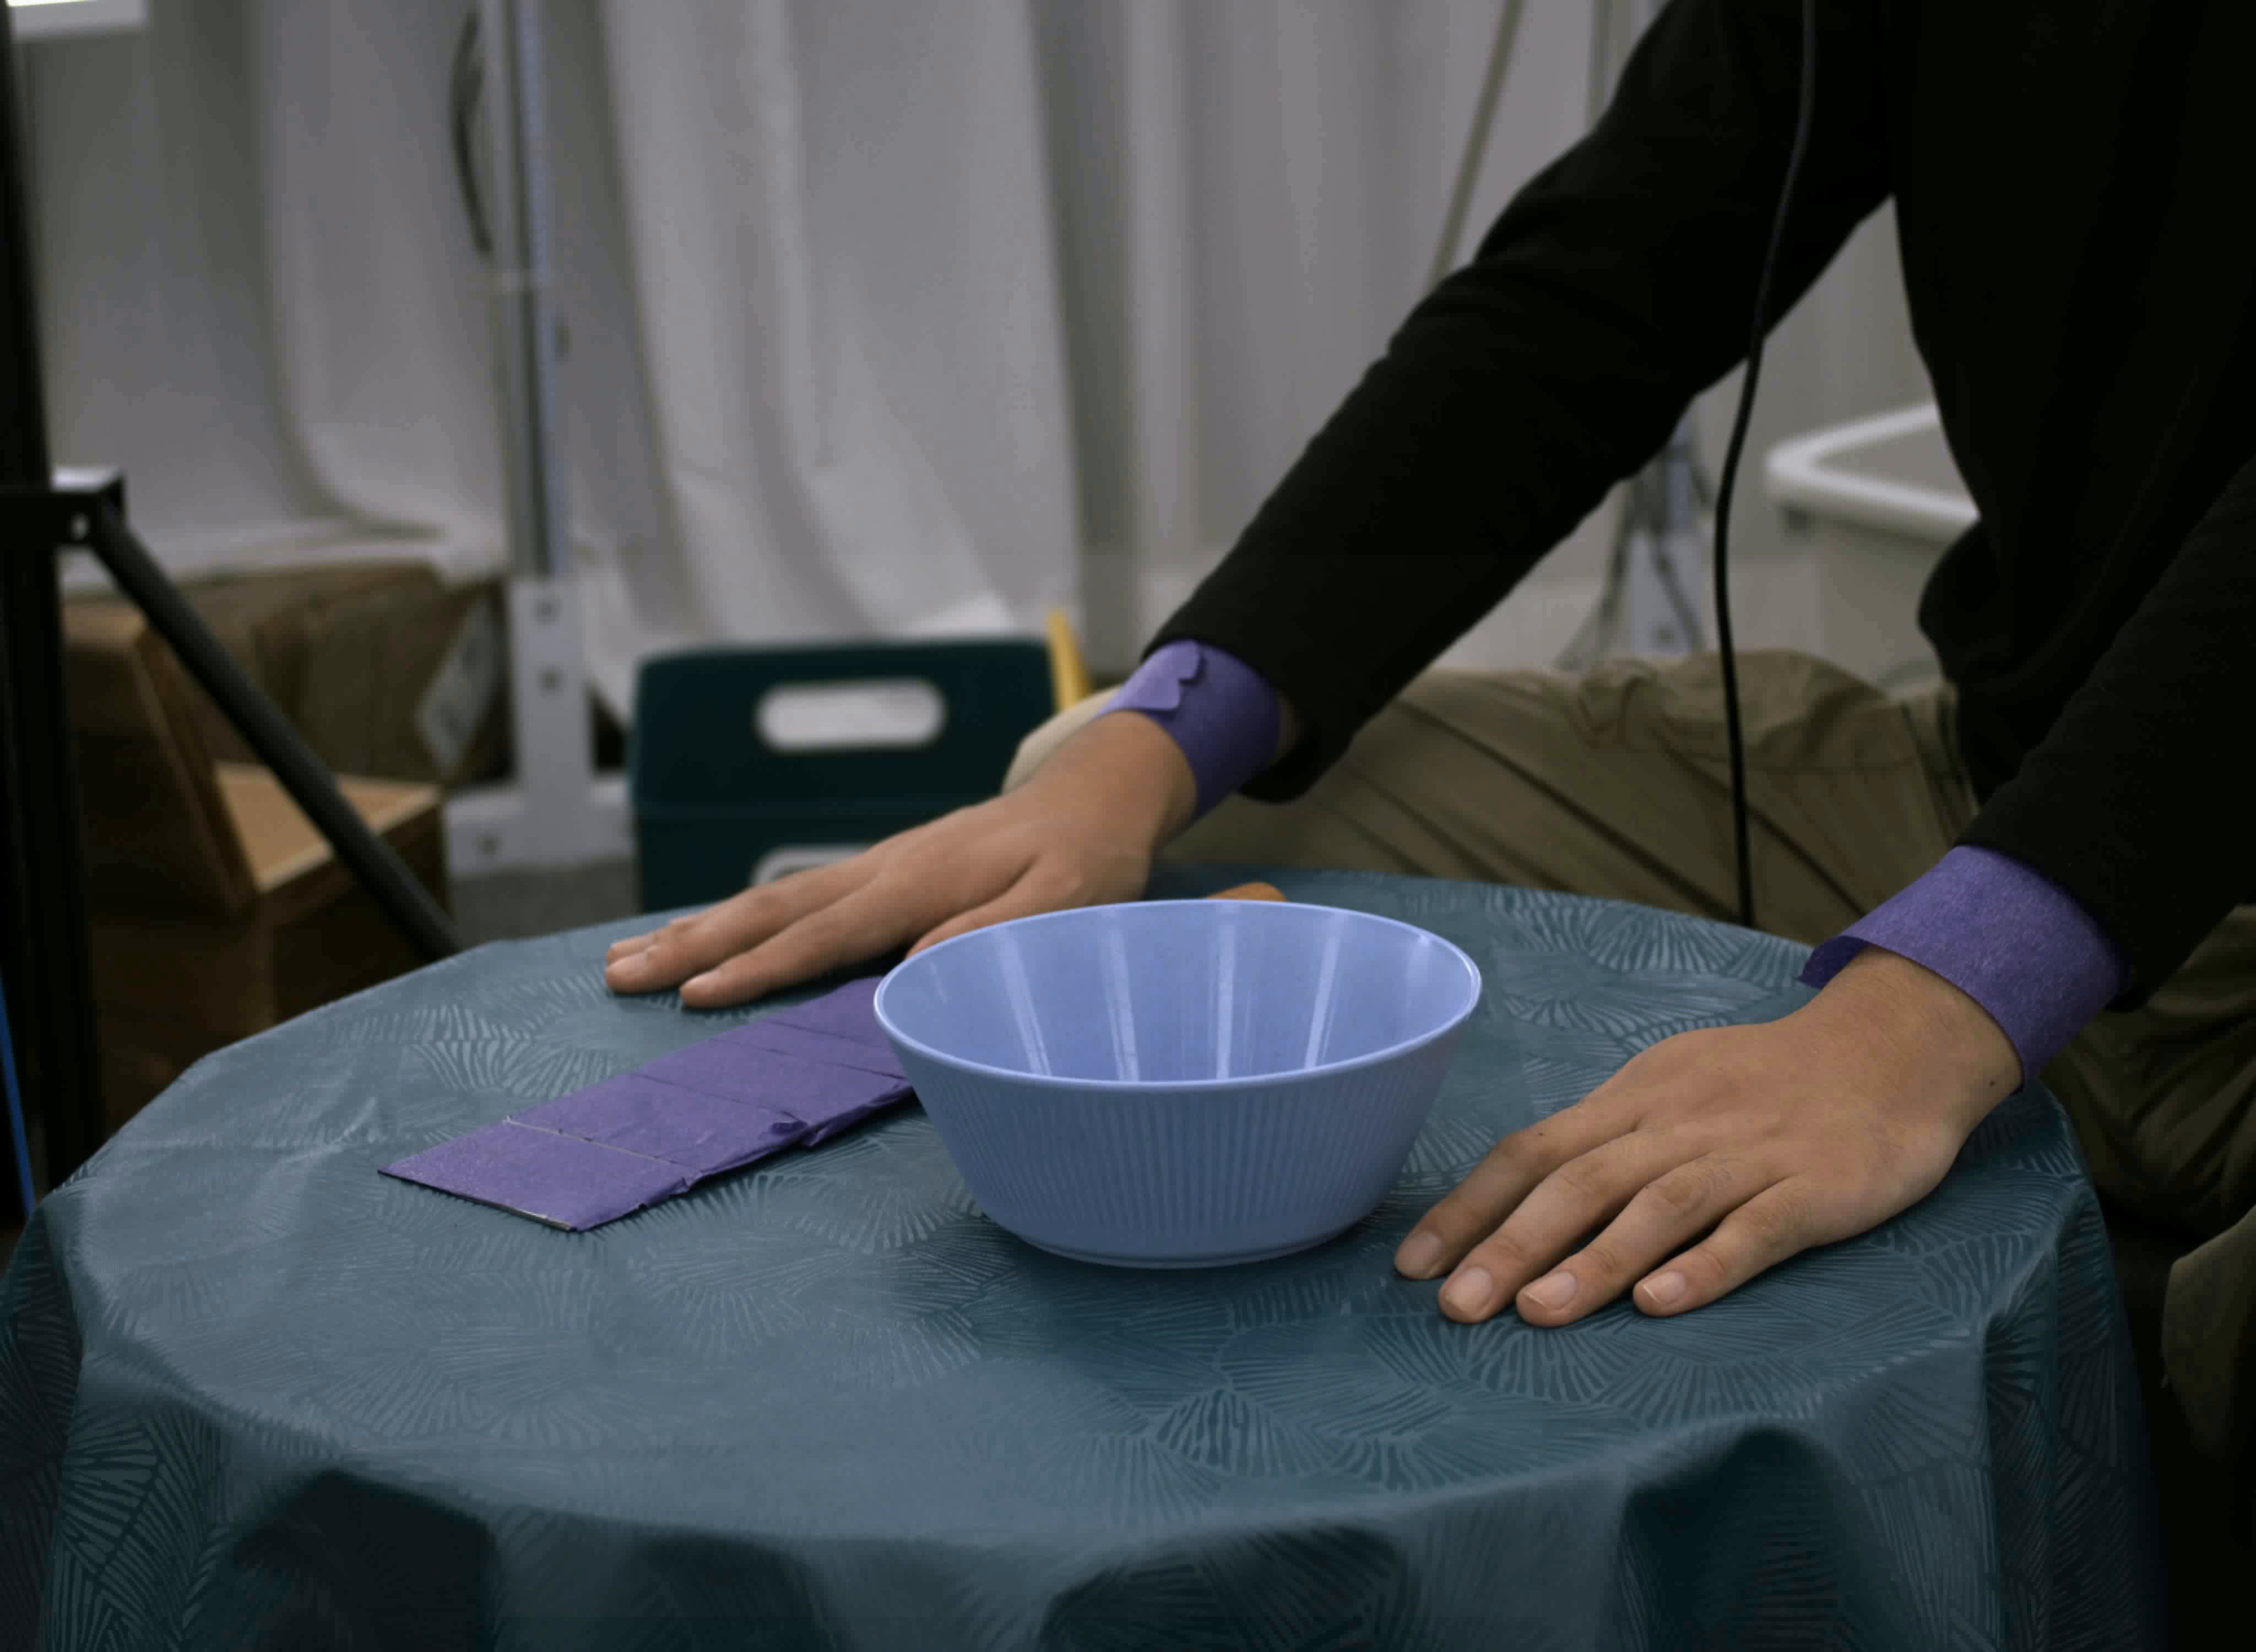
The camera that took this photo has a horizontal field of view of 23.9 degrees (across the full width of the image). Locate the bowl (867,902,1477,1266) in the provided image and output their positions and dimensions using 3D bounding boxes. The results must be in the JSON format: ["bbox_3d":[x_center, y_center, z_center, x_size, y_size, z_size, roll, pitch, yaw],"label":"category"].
[{"bbox_3d":[0.013,0.077,1.533,0.175,0.070,0.177,-1,16,-1],"label":"bowl"}]

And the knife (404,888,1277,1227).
[{"bbox_3d":[-0.086,0.066,1.670,0.106,0.032,0.308,13,23,43],"label":"knife"}]
